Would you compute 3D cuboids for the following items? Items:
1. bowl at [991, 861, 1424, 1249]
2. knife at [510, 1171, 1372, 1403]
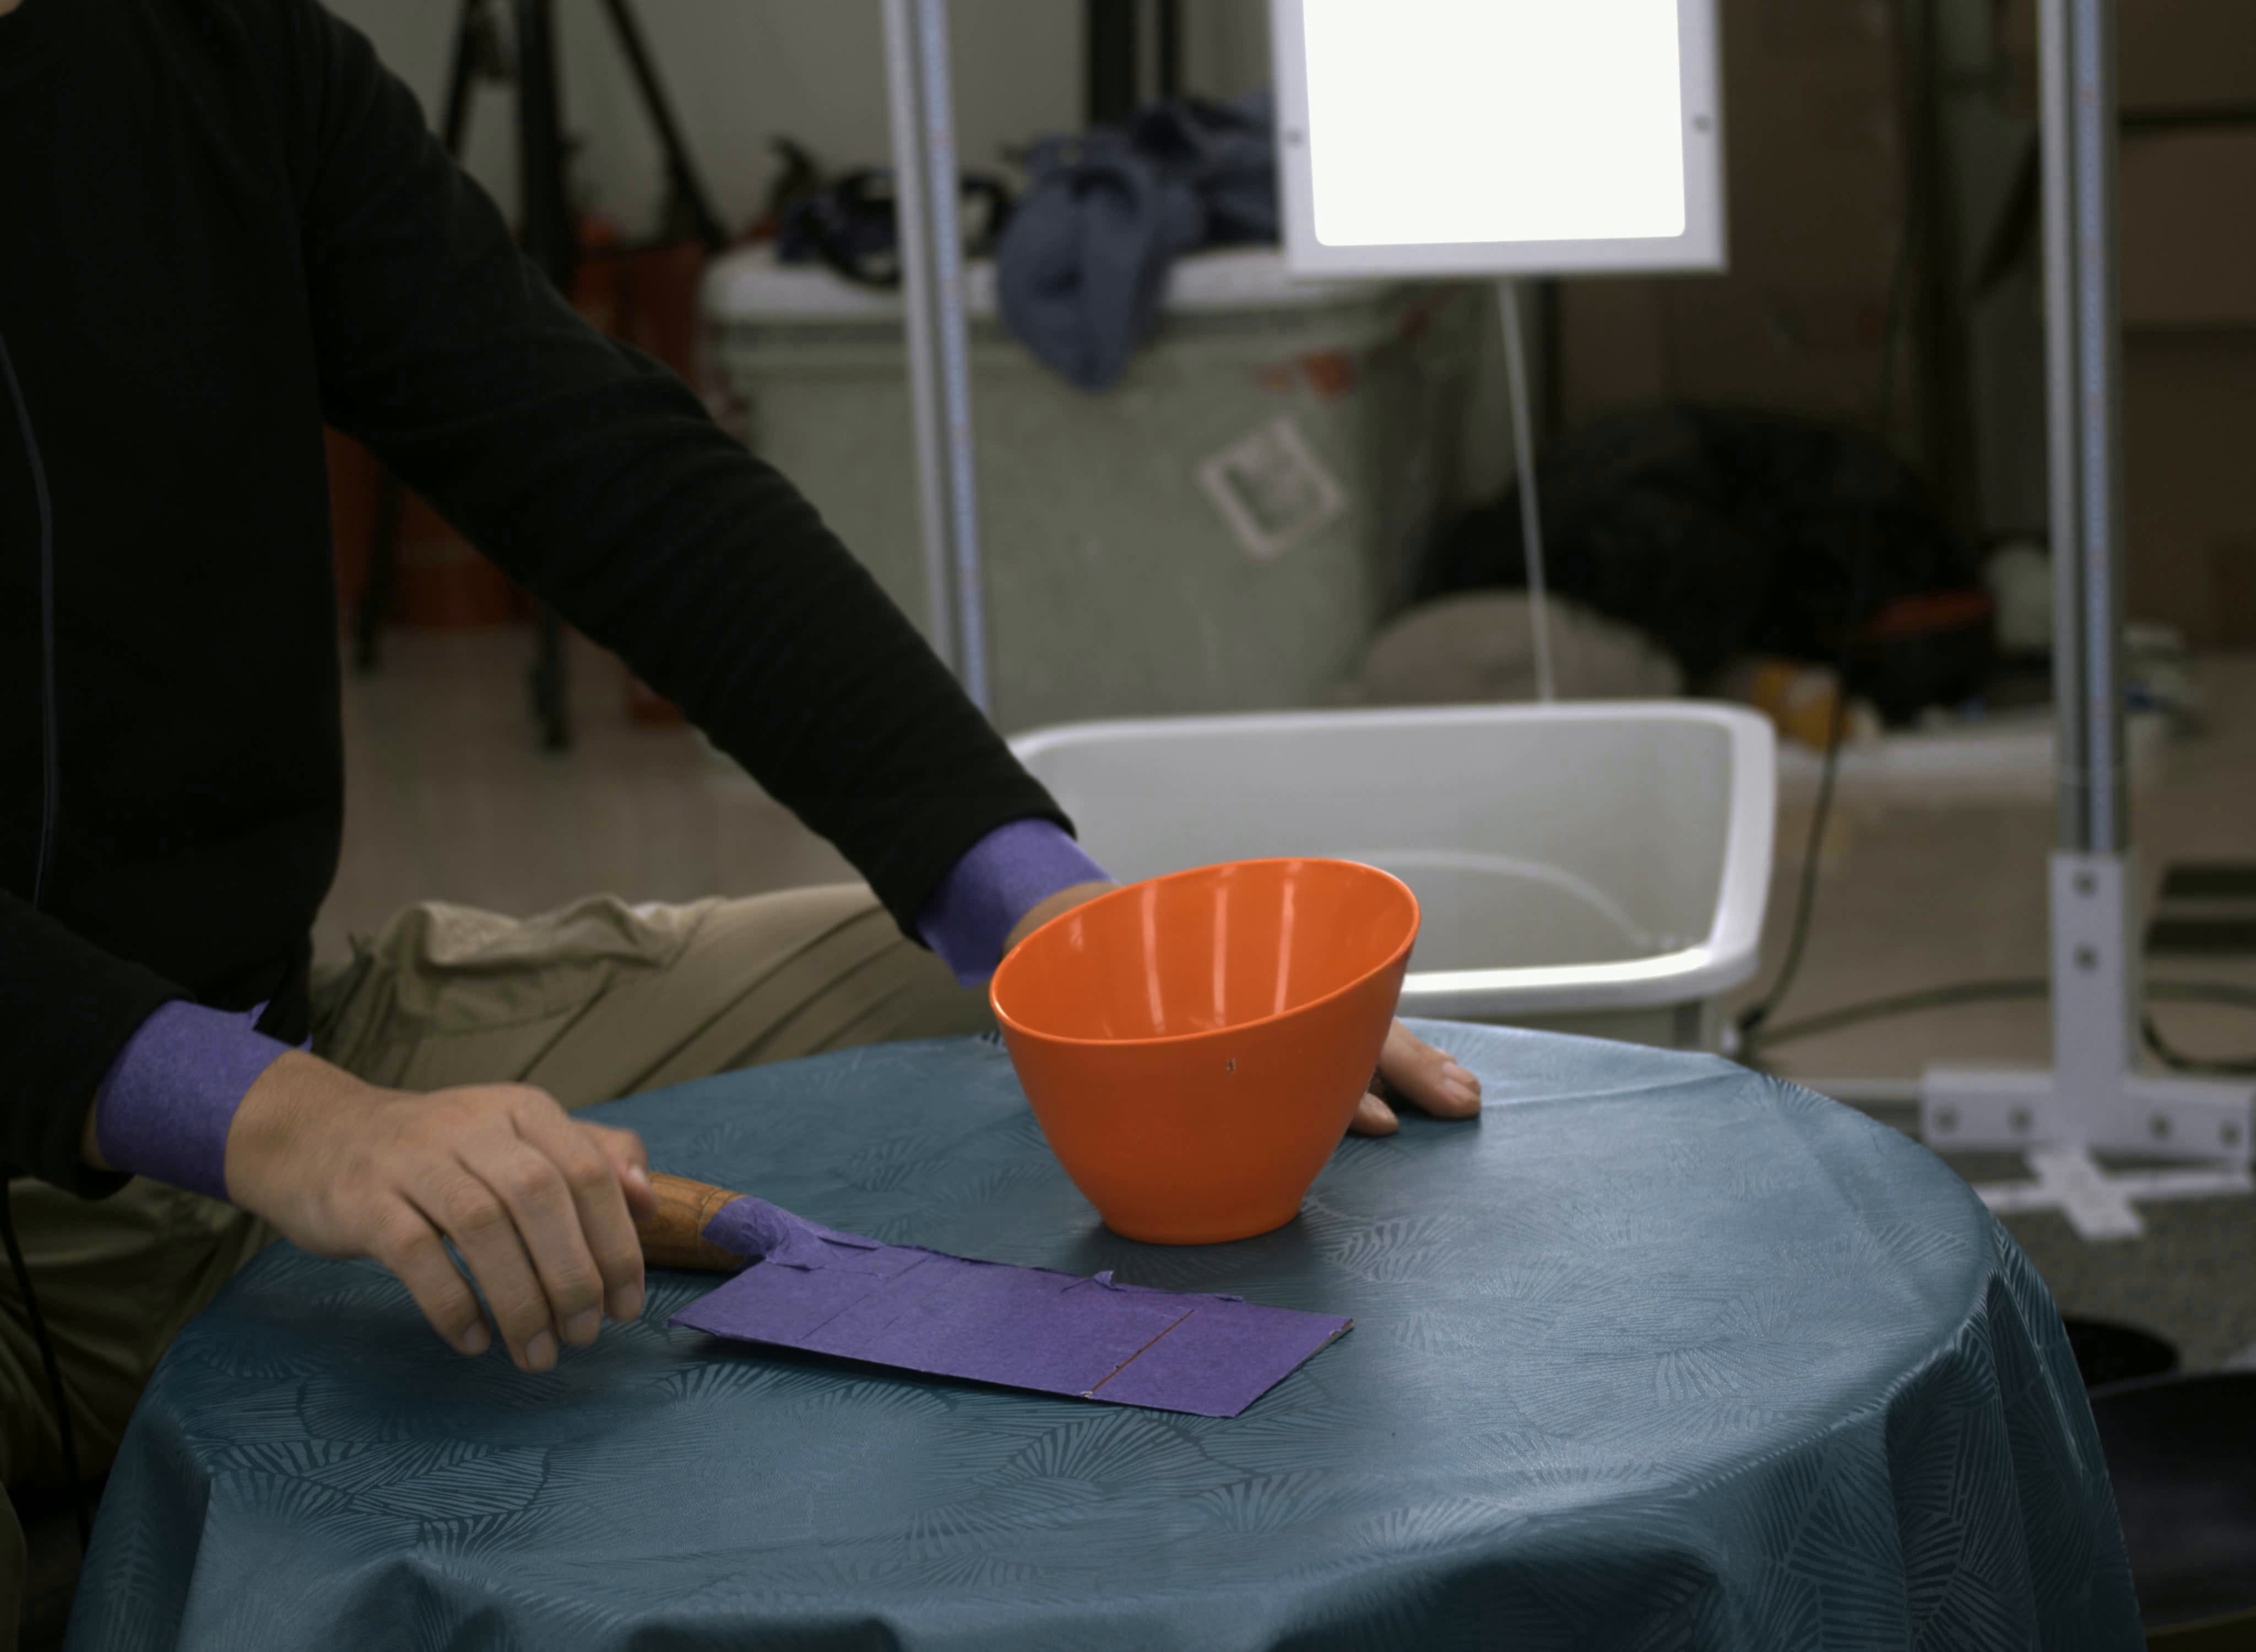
[{"bbox_3d":[0.029,0.081,1.861,0.147,0.105,0.148,-4,15,0],"label":"bowl"},{"bbox_3d":[-0.081,0.149,1.784,0.321,0.032,0.101,4,16,30],"label":"knife"}]
